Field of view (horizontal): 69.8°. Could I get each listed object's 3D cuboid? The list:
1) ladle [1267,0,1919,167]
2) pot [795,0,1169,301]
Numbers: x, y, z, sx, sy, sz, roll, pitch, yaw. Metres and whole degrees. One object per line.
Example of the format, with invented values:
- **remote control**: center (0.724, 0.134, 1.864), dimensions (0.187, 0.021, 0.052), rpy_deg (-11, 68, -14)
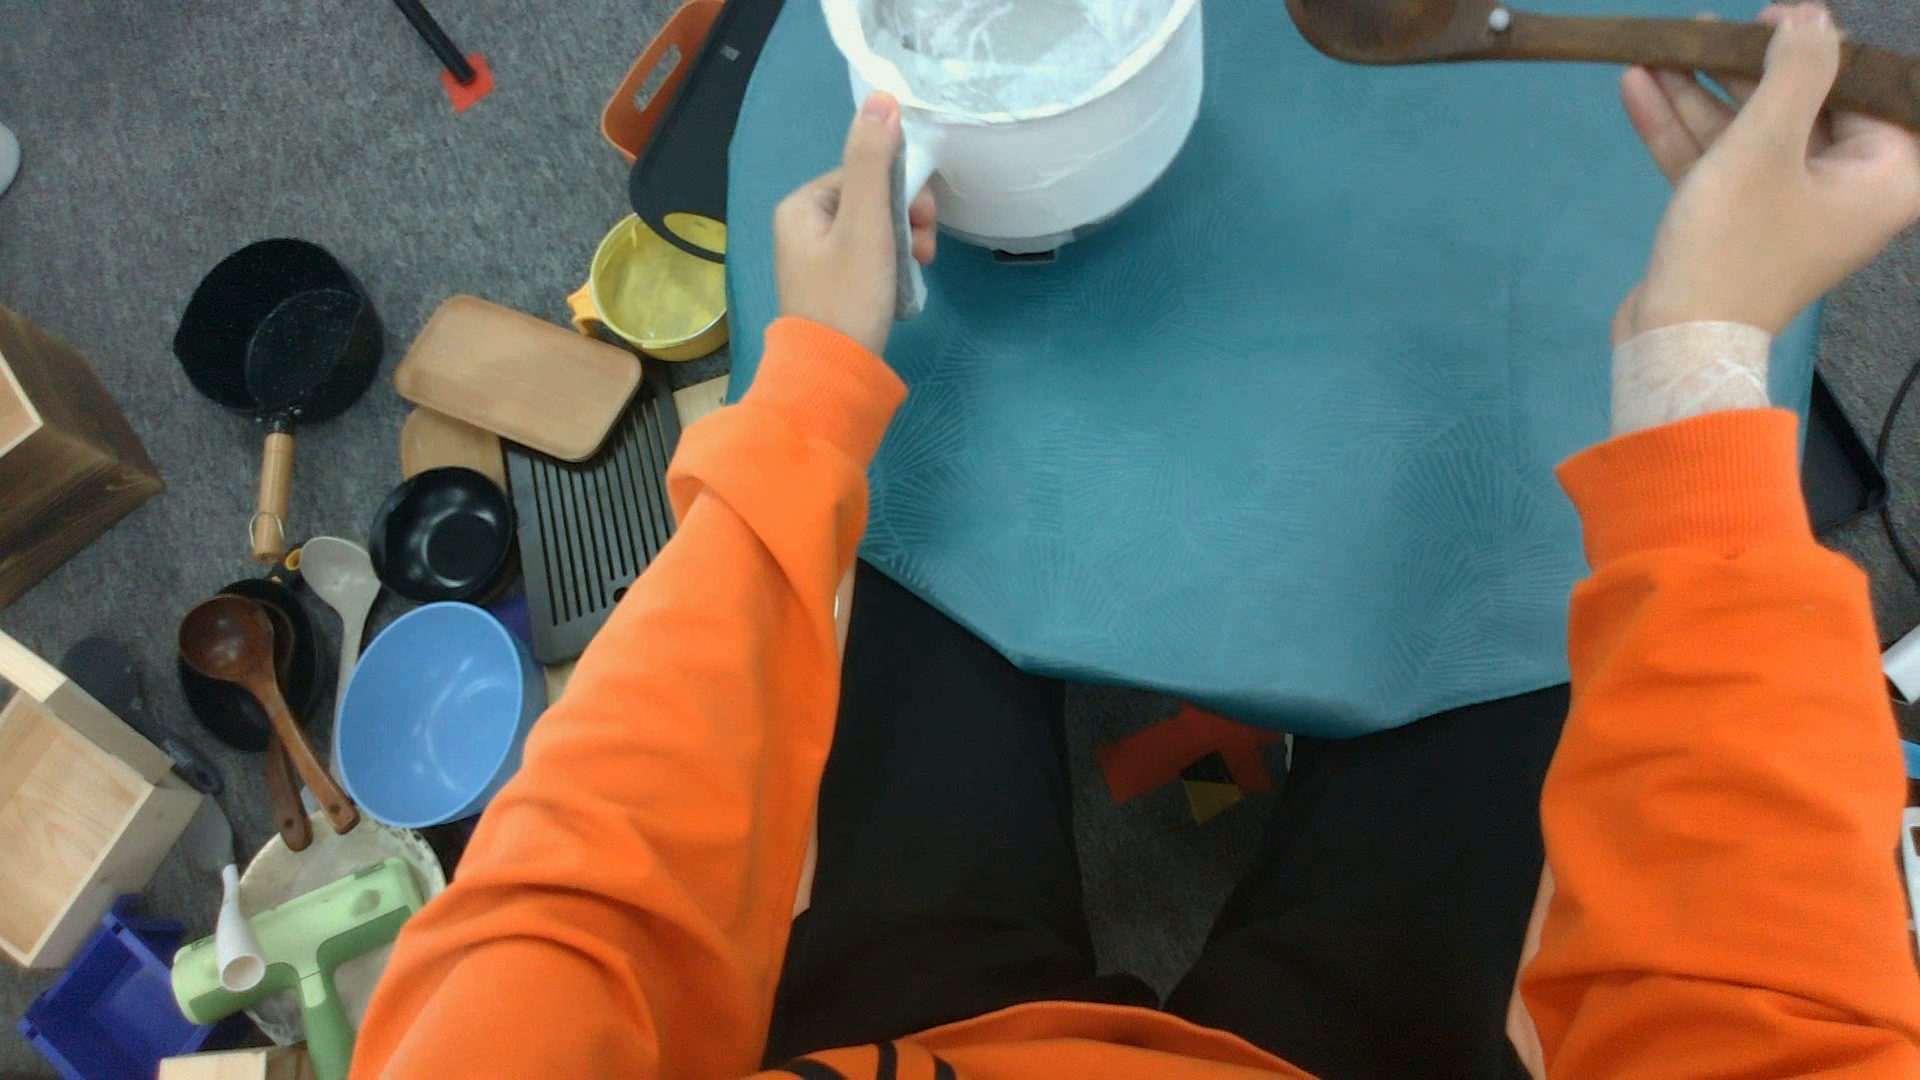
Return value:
- **ladle**: center (0.253, -0.203, 0.556), dimensions (0.274, 0.071, 0.076), rpy_deg (25, 81, 35)
- **pot**: center (0.002, -0.235, 0.684), dimensions (0.178, 0.136, 0.234), rpy_deg (26, 78, 16)
